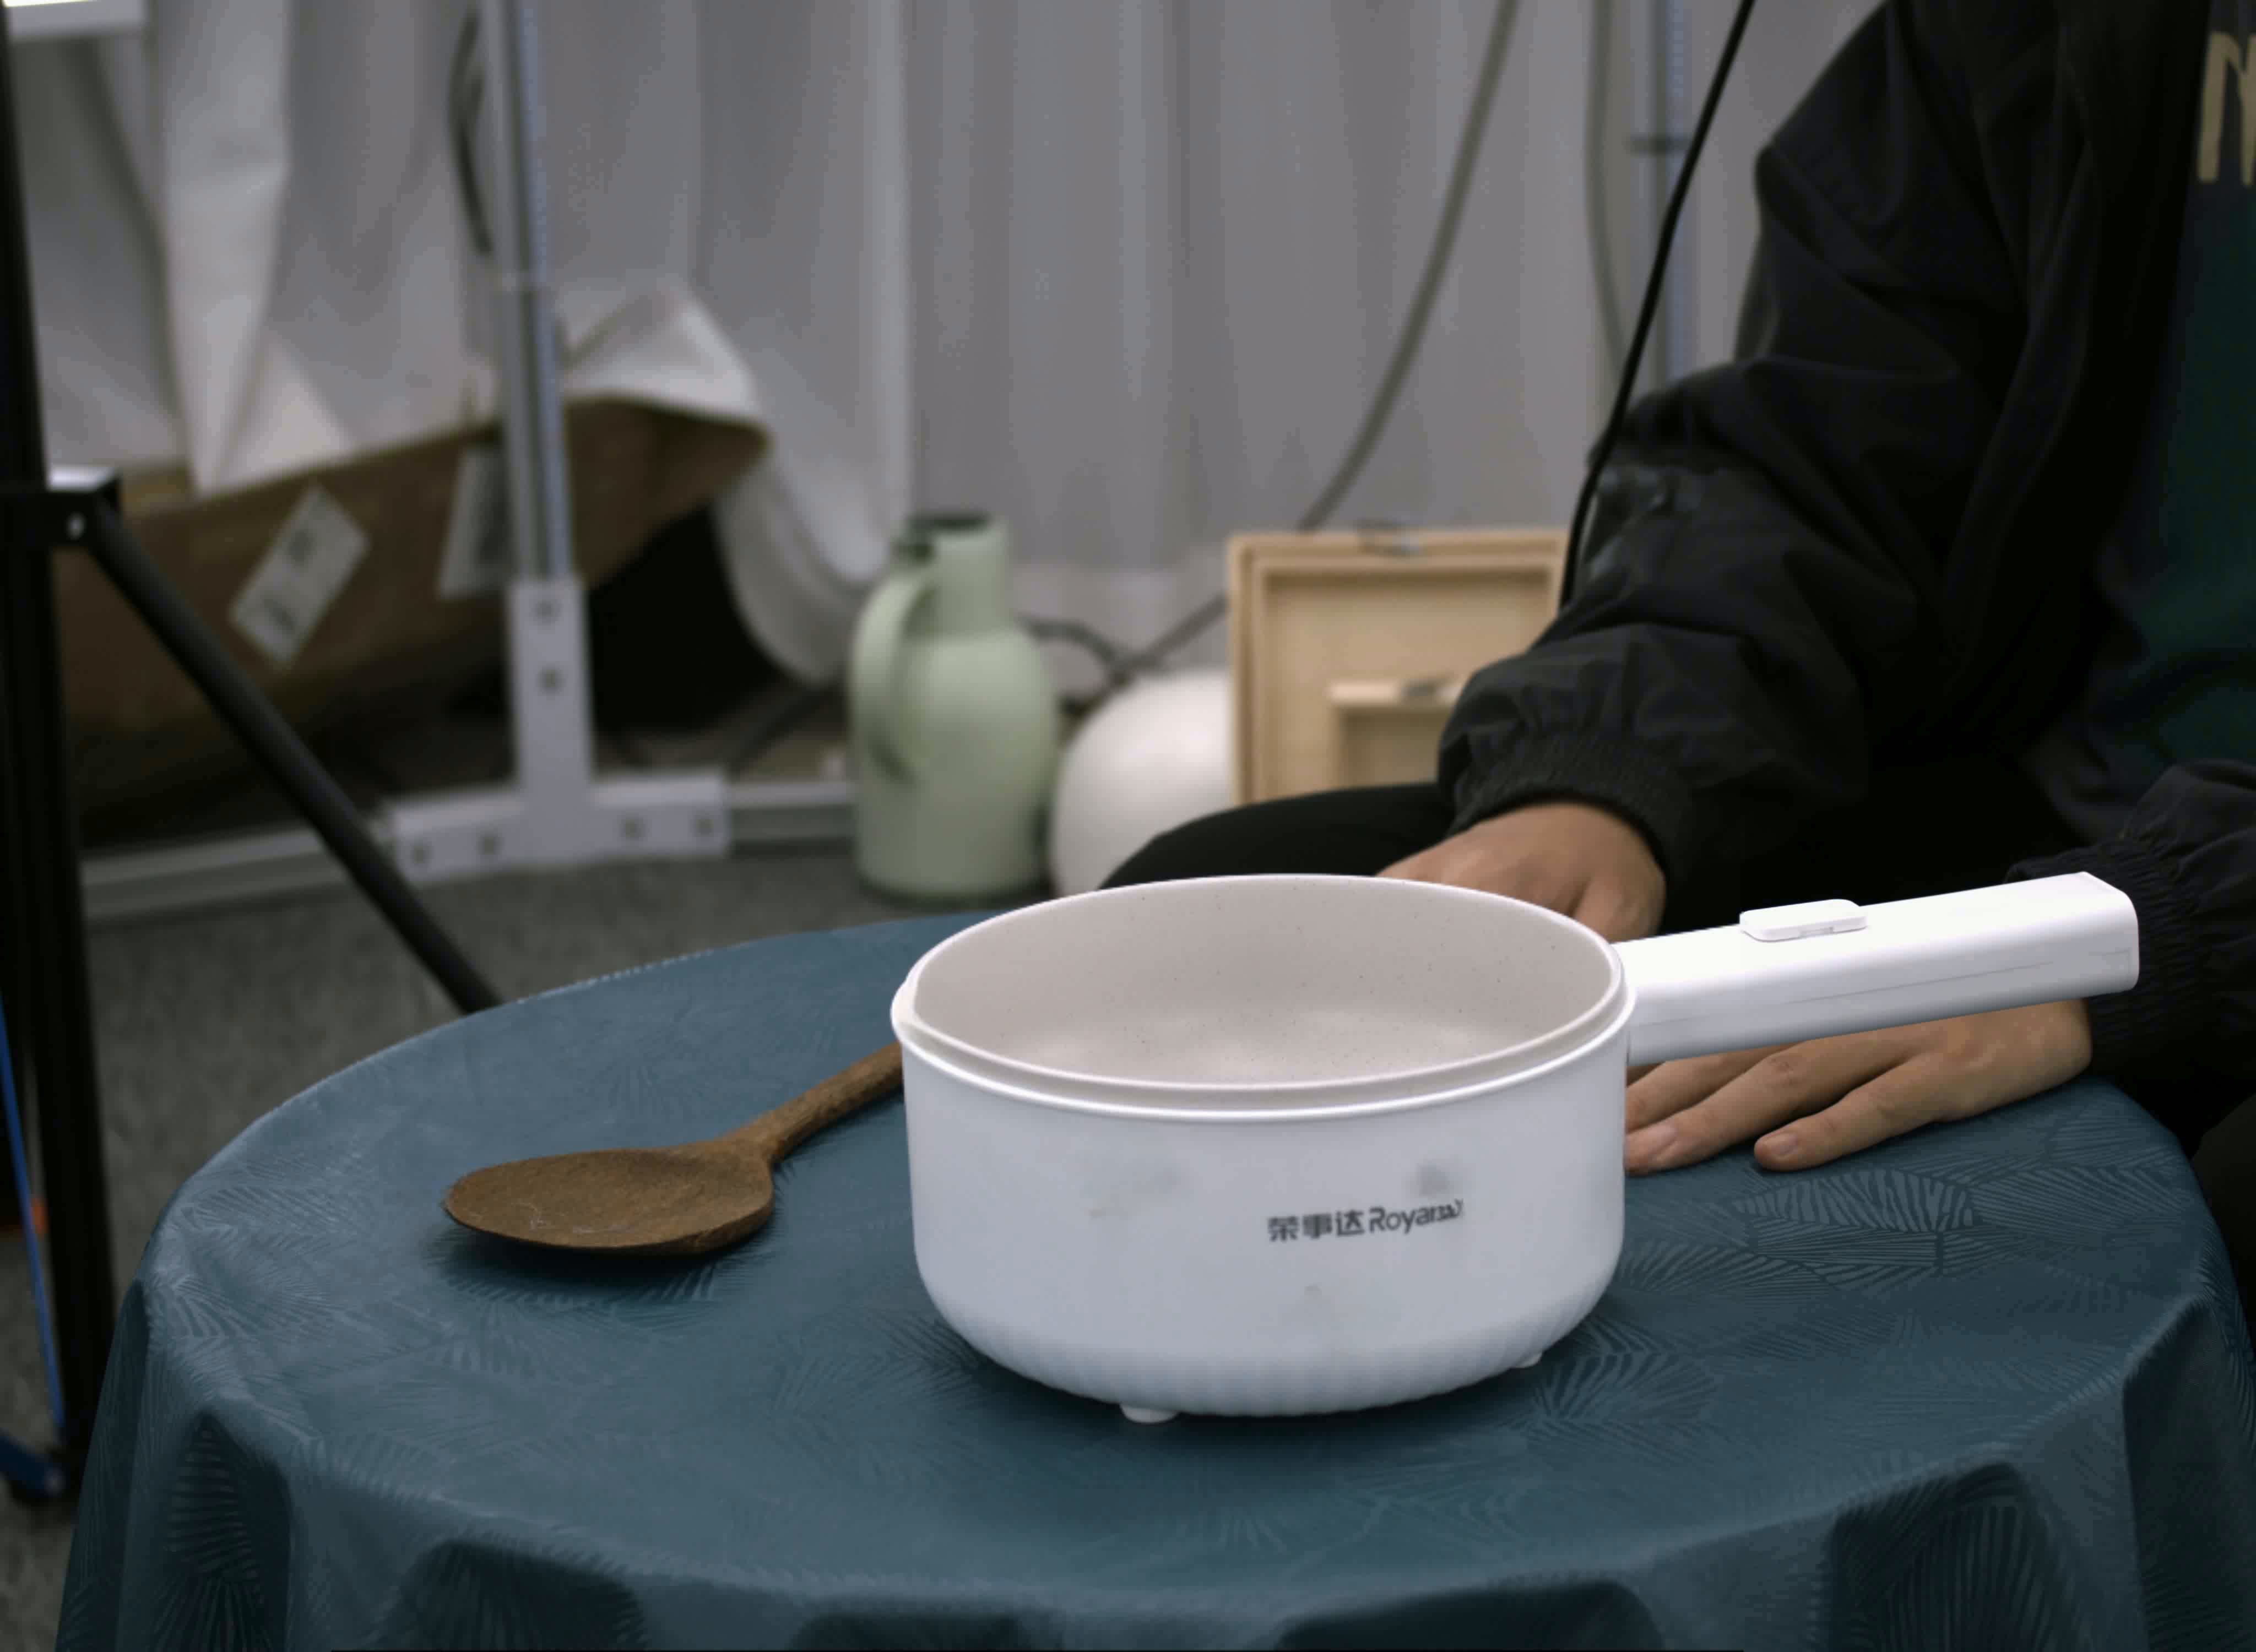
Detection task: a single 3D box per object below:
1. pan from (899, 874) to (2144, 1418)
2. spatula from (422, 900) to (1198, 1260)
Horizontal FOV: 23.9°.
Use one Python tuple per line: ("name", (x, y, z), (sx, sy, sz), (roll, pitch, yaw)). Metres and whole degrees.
("pan", (0.111, 0.082, 1.457), (0.349, 0.102, 0.204), (-5, 15, -15))
("spatula", (-0.074, 0.074, 1.666), (0.098, 0.016, 0.378), (8, 19, 31))
